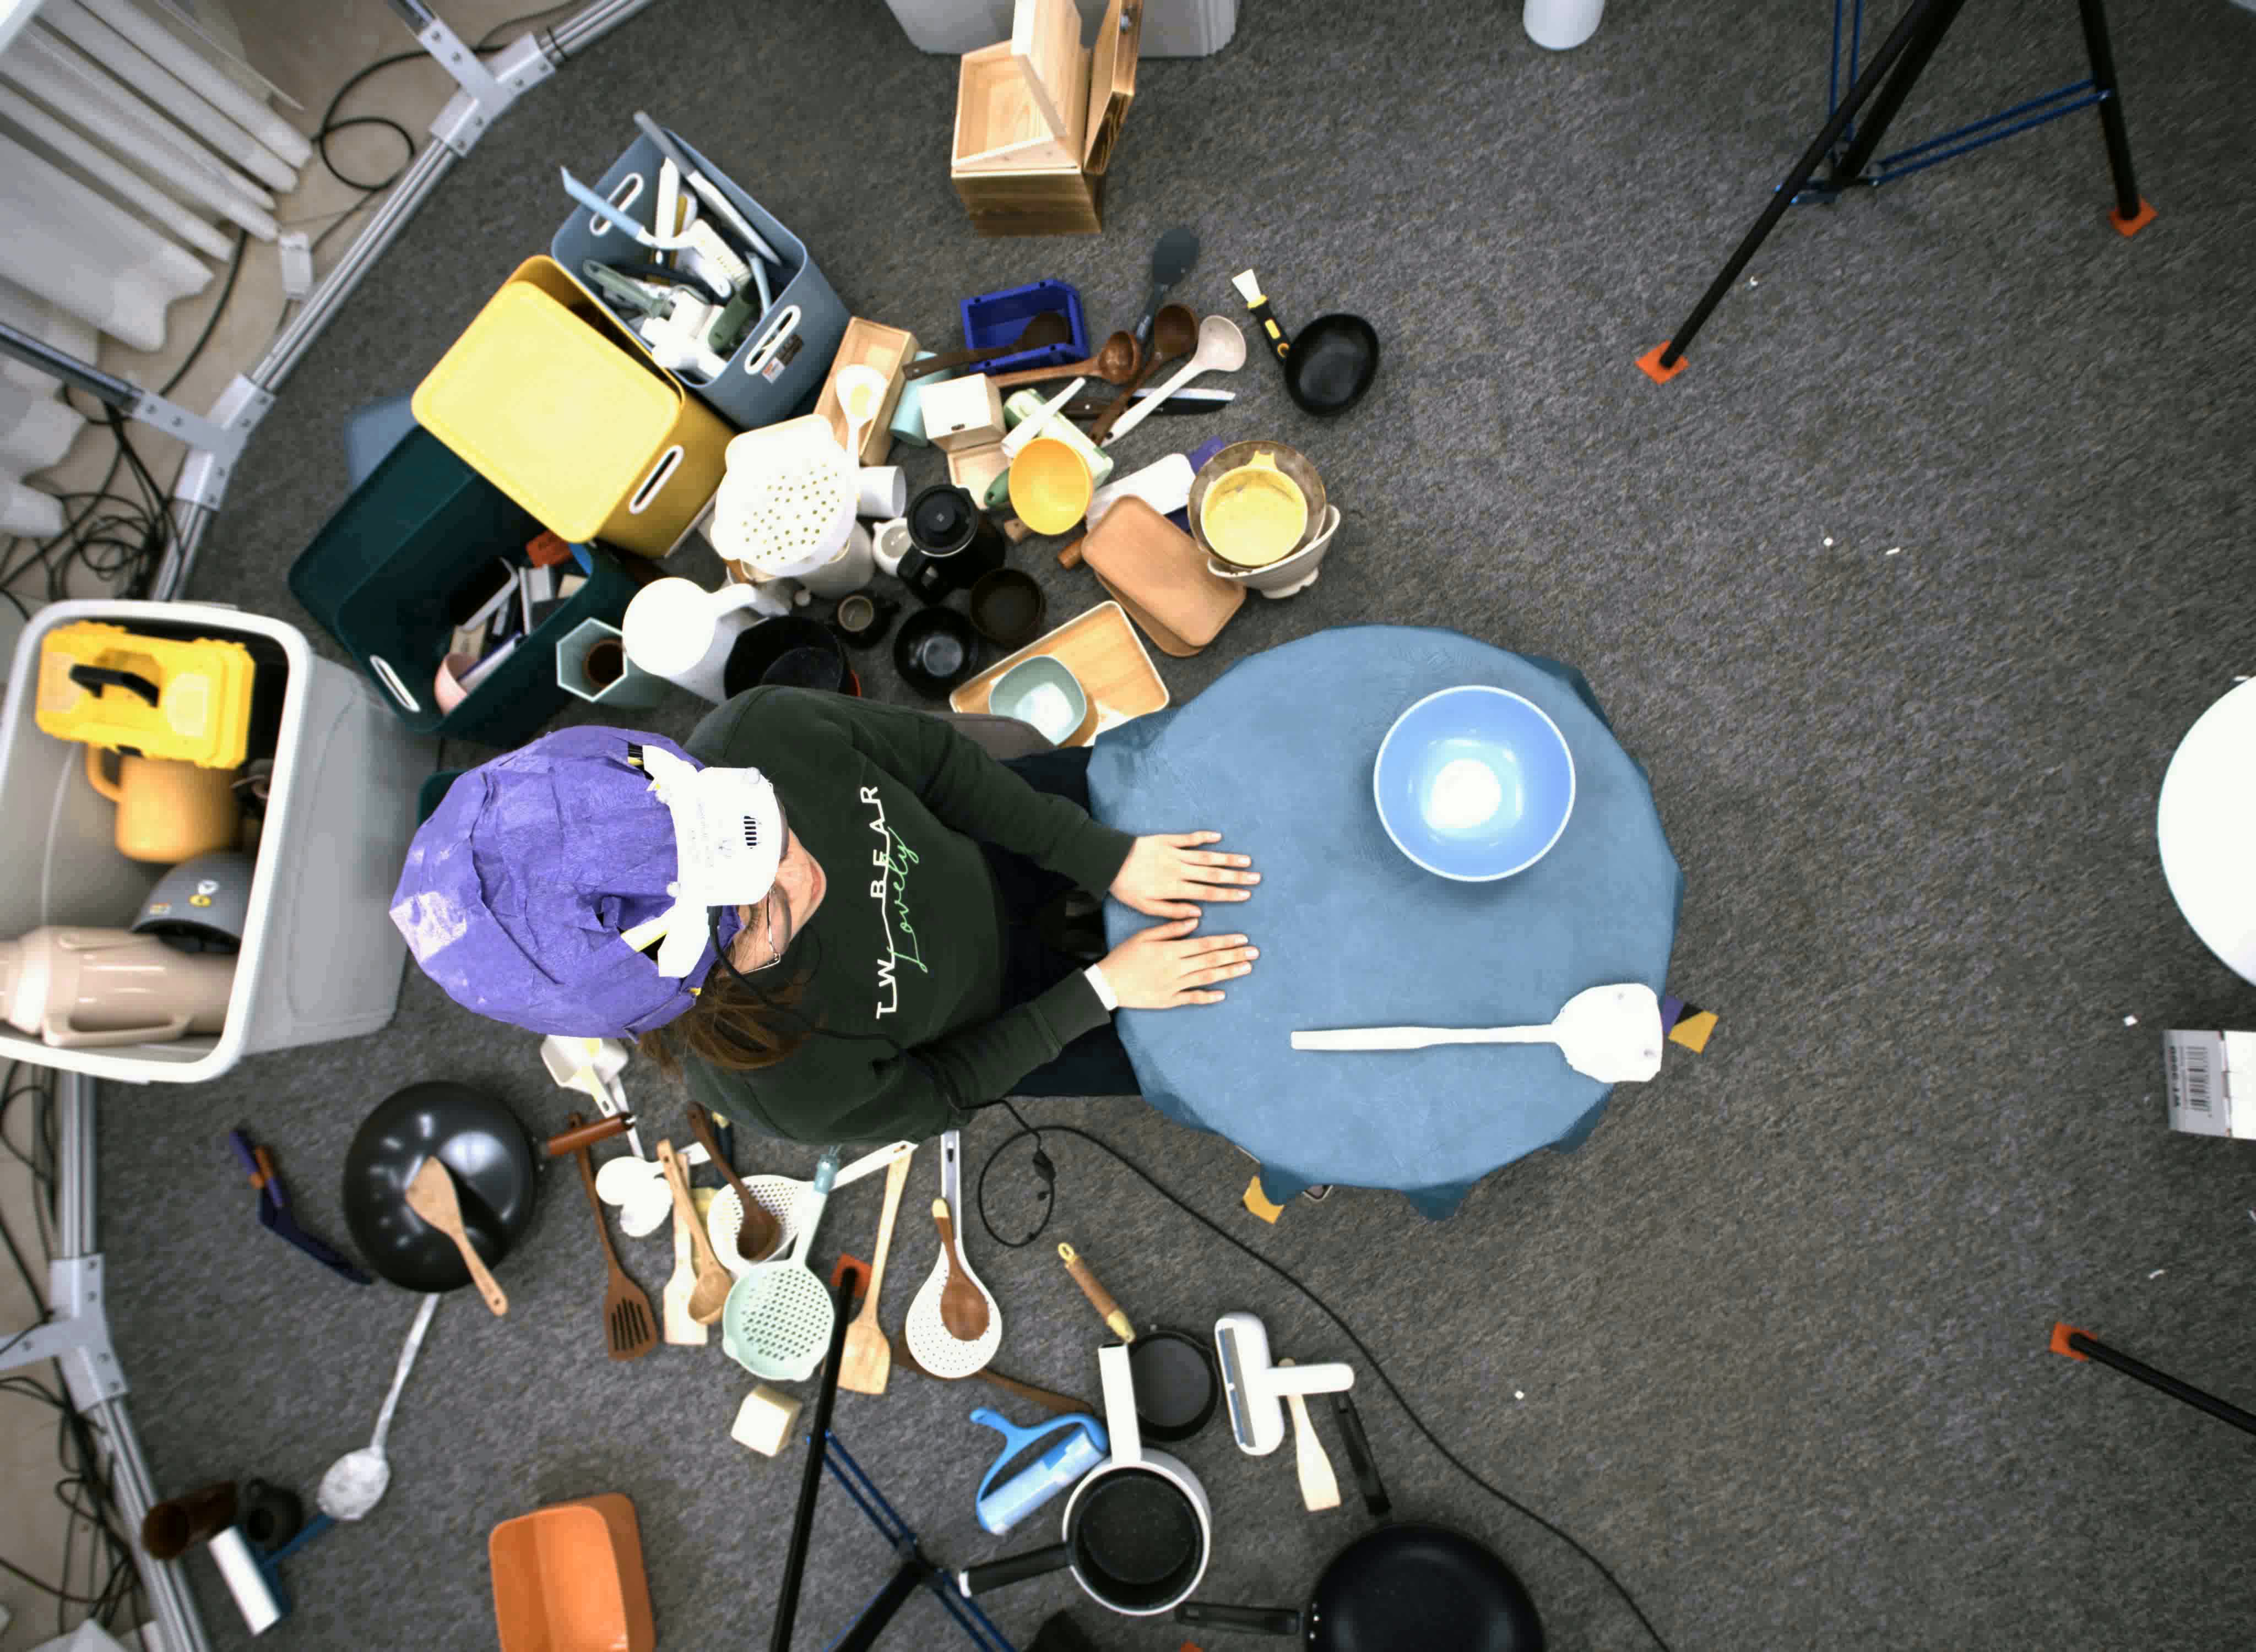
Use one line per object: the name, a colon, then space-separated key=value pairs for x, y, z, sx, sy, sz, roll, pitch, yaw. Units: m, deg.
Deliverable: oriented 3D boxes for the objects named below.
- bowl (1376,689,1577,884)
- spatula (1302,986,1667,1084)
bowl: x=0.353 y=-0.037 z=1.410 sx=0.197 sy=0.095 sz=0.195 roll=-1 pitch=86 yaw=9
spatula: x=0.361 y=0.212 z=1.419 sx=0.366 sy=0.045 sz=0.098 roll=-2 pitch=87 yaw=10
